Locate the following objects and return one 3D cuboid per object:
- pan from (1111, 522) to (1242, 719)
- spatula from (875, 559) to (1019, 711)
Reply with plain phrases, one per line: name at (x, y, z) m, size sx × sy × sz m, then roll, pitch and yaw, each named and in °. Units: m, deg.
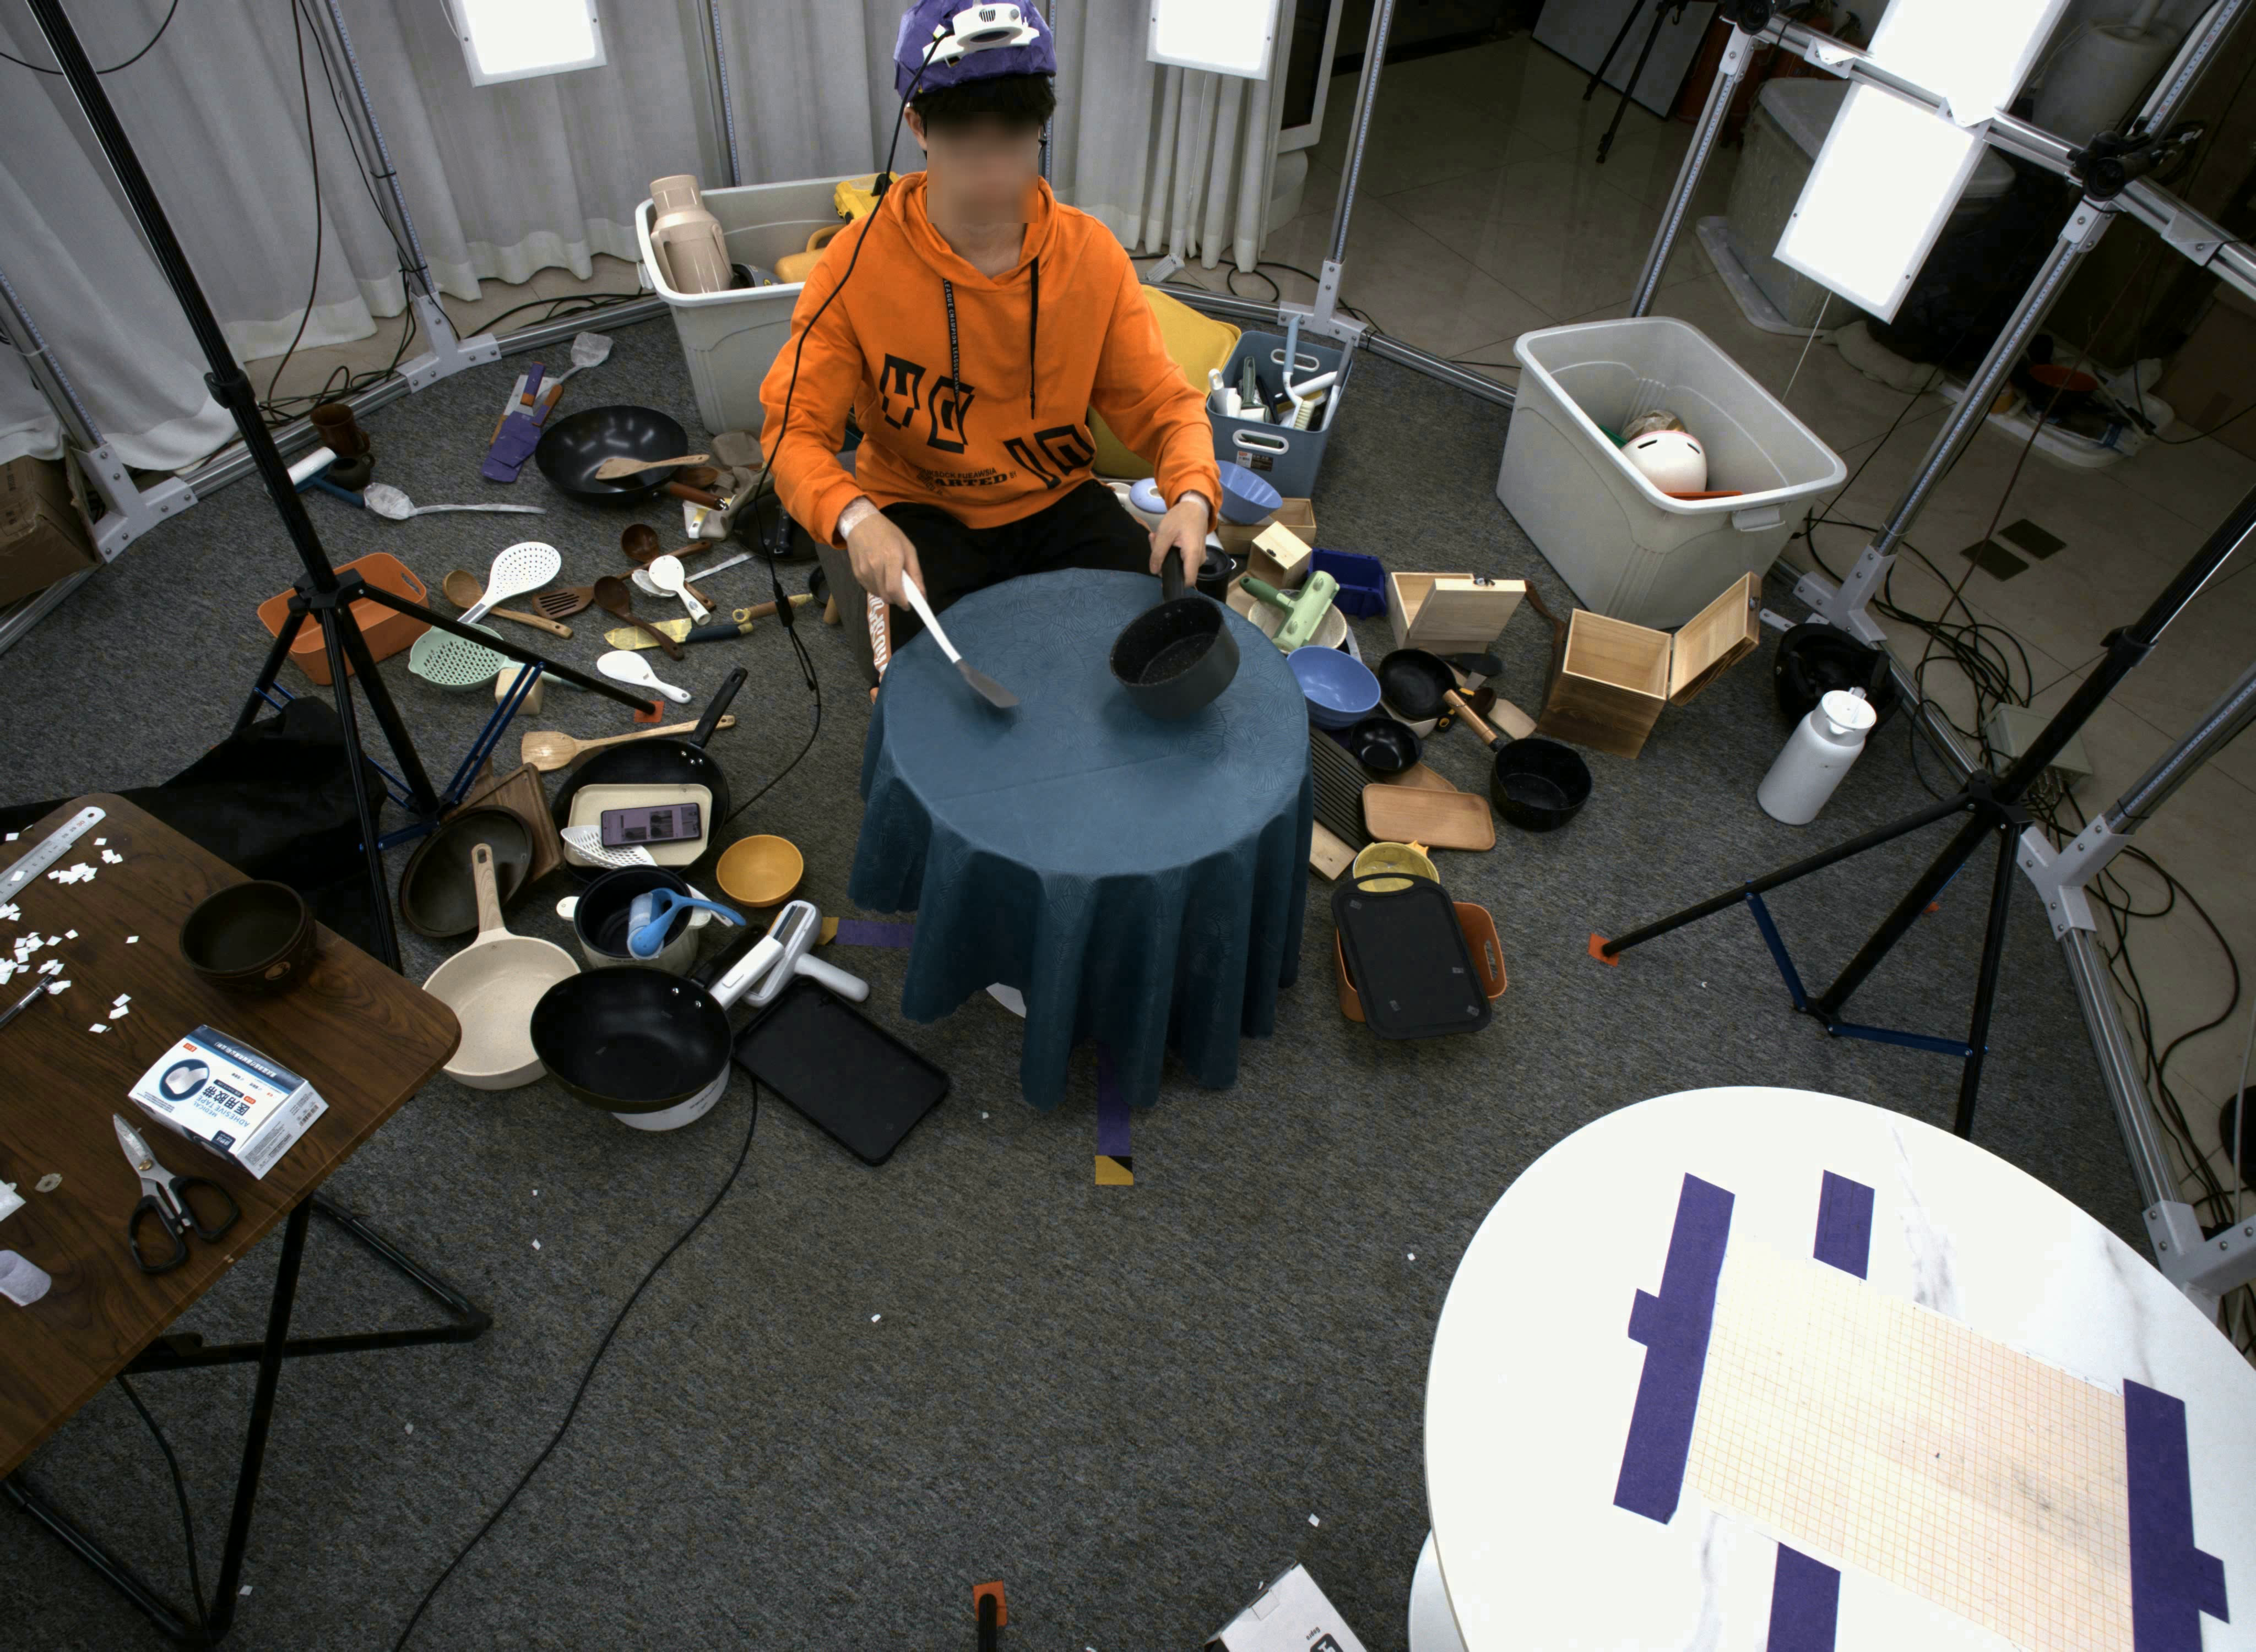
pan at (0.074, -0.295, 1.825) m, size 0.172 × 0.084 × 0.337 m, roll -14°, pitch 46°, yaw 23°
spatula at (-0.256, -0.261, 1.797) m, size 0.291 × 0.032 × 0.058 m, roll 50°, pitch 25°, yaw 15°
